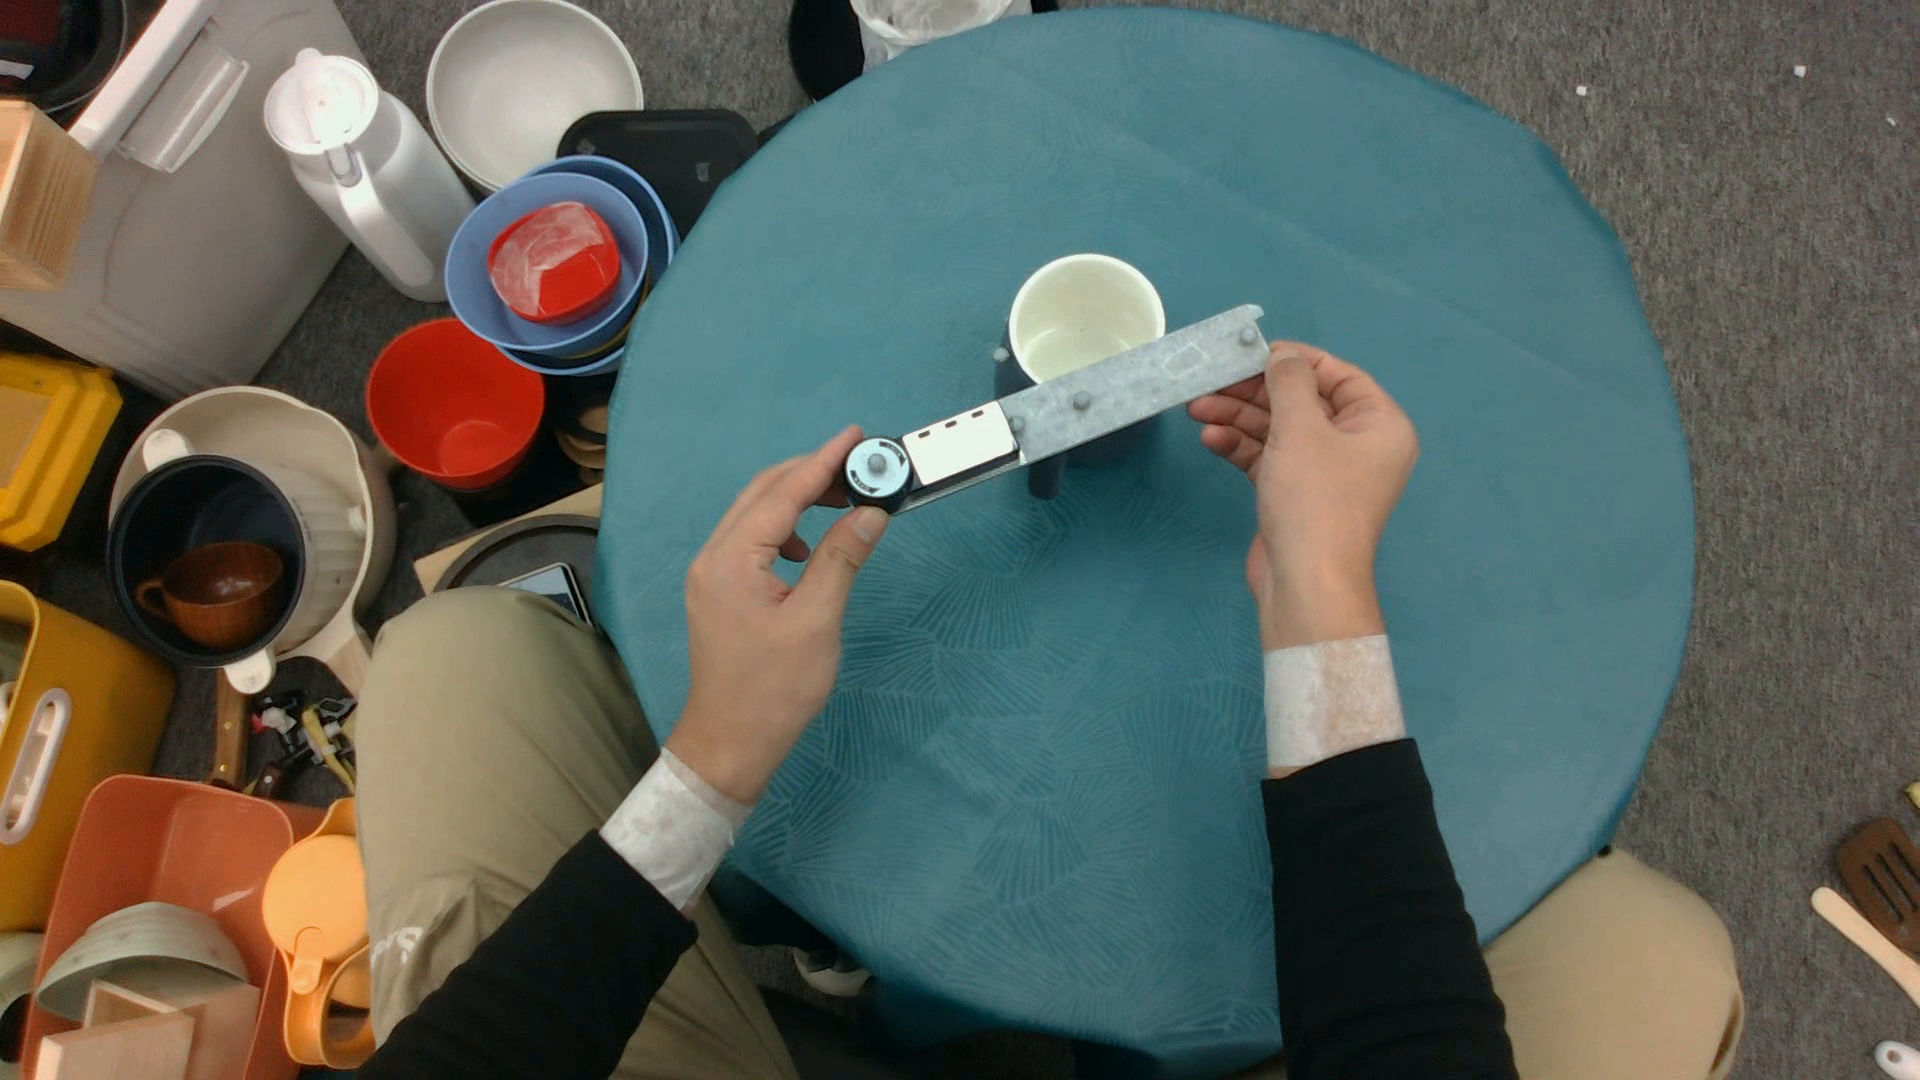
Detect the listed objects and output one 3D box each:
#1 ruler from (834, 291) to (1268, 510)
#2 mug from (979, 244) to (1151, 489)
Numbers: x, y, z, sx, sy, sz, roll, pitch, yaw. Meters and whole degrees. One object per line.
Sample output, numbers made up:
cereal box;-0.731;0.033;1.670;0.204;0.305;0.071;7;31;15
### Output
ruler;0.043;-0.067;0.648;0.218;0.024;0.038;-22;81;-7
mug;0.052;-0.086;0.726;0.093;0.089;0.123;18;73;7
